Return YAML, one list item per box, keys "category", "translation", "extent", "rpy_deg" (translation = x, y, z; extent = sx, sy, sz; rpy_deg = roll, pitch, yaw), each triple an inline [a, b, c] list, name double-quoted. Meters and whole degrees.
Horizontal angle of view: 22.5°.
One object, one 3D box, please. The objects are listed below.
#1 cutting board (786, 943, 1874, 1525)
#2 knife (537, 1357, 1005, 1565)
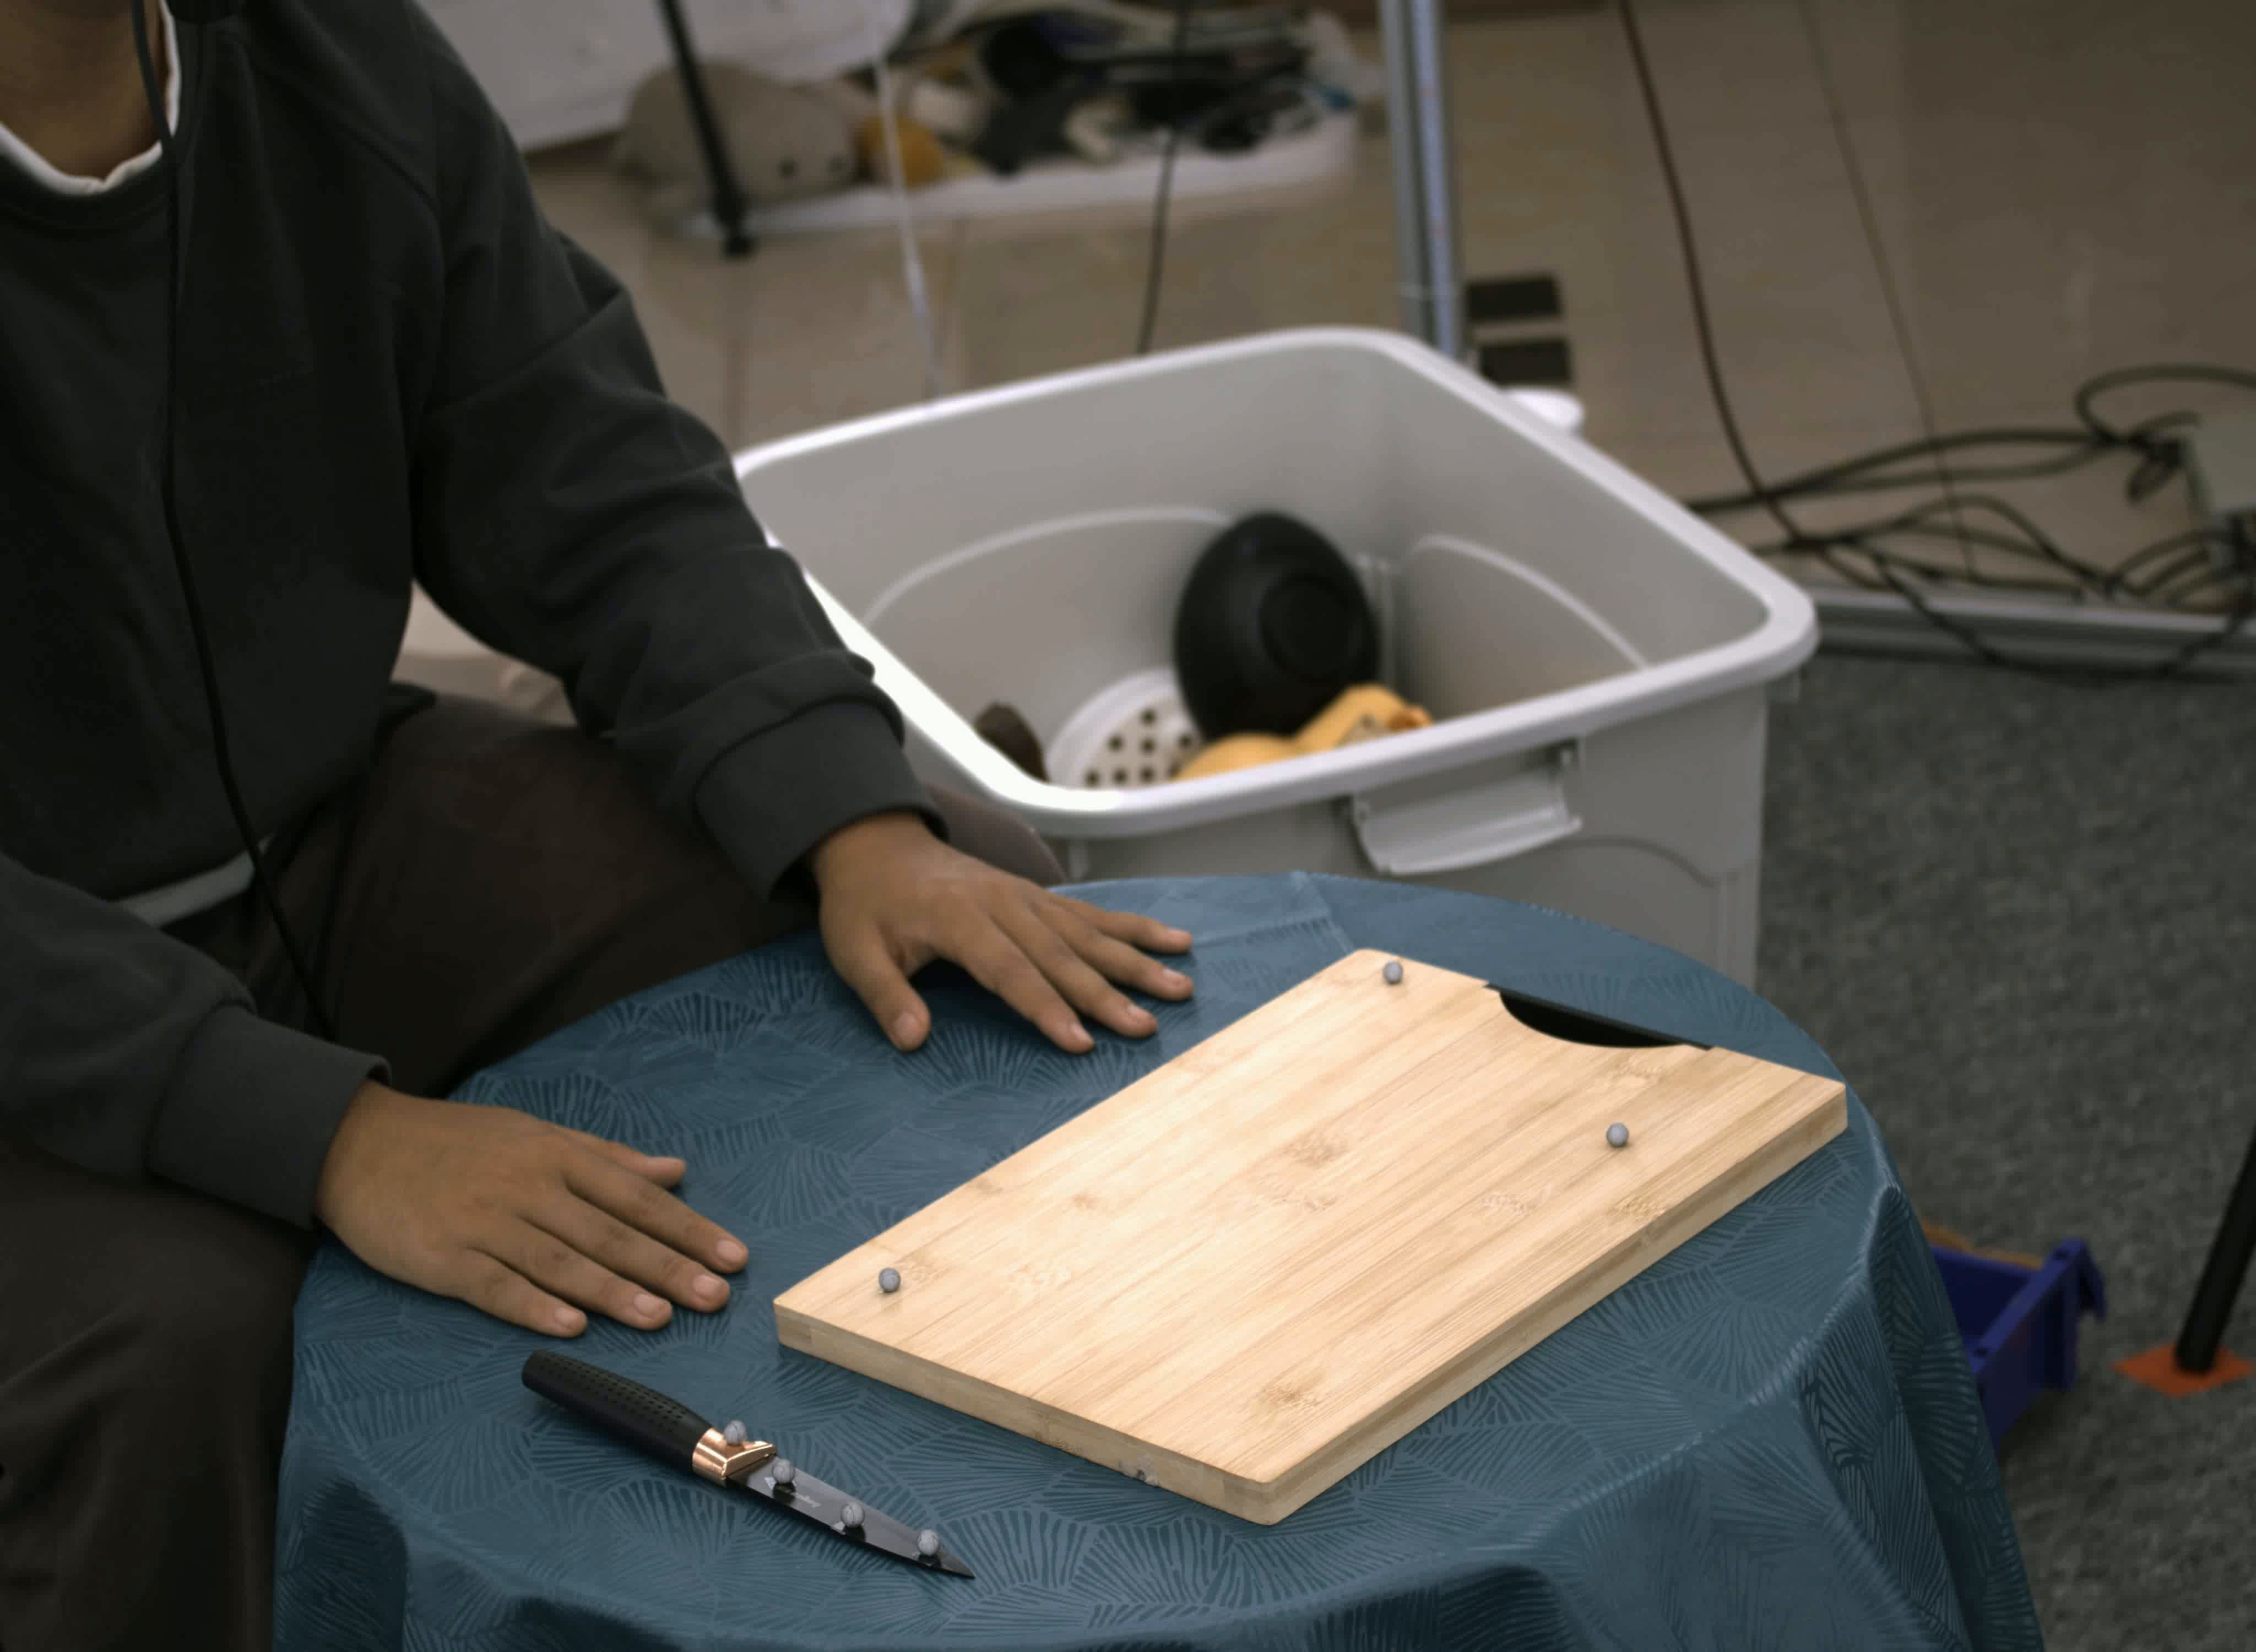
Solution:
- category: "cutting board"
  translation: [0.076, 0.142, 2.104]
  extent: [0.249, 0.024, 0.345]
  rpy_deg: [16, 33, 39]
- category: "knife"
  translation: [-0.127, 0.223, 1.984]
  extent: [0.224, 0.017, 0.026]
  rpy_deg: [18, 27, 40]
